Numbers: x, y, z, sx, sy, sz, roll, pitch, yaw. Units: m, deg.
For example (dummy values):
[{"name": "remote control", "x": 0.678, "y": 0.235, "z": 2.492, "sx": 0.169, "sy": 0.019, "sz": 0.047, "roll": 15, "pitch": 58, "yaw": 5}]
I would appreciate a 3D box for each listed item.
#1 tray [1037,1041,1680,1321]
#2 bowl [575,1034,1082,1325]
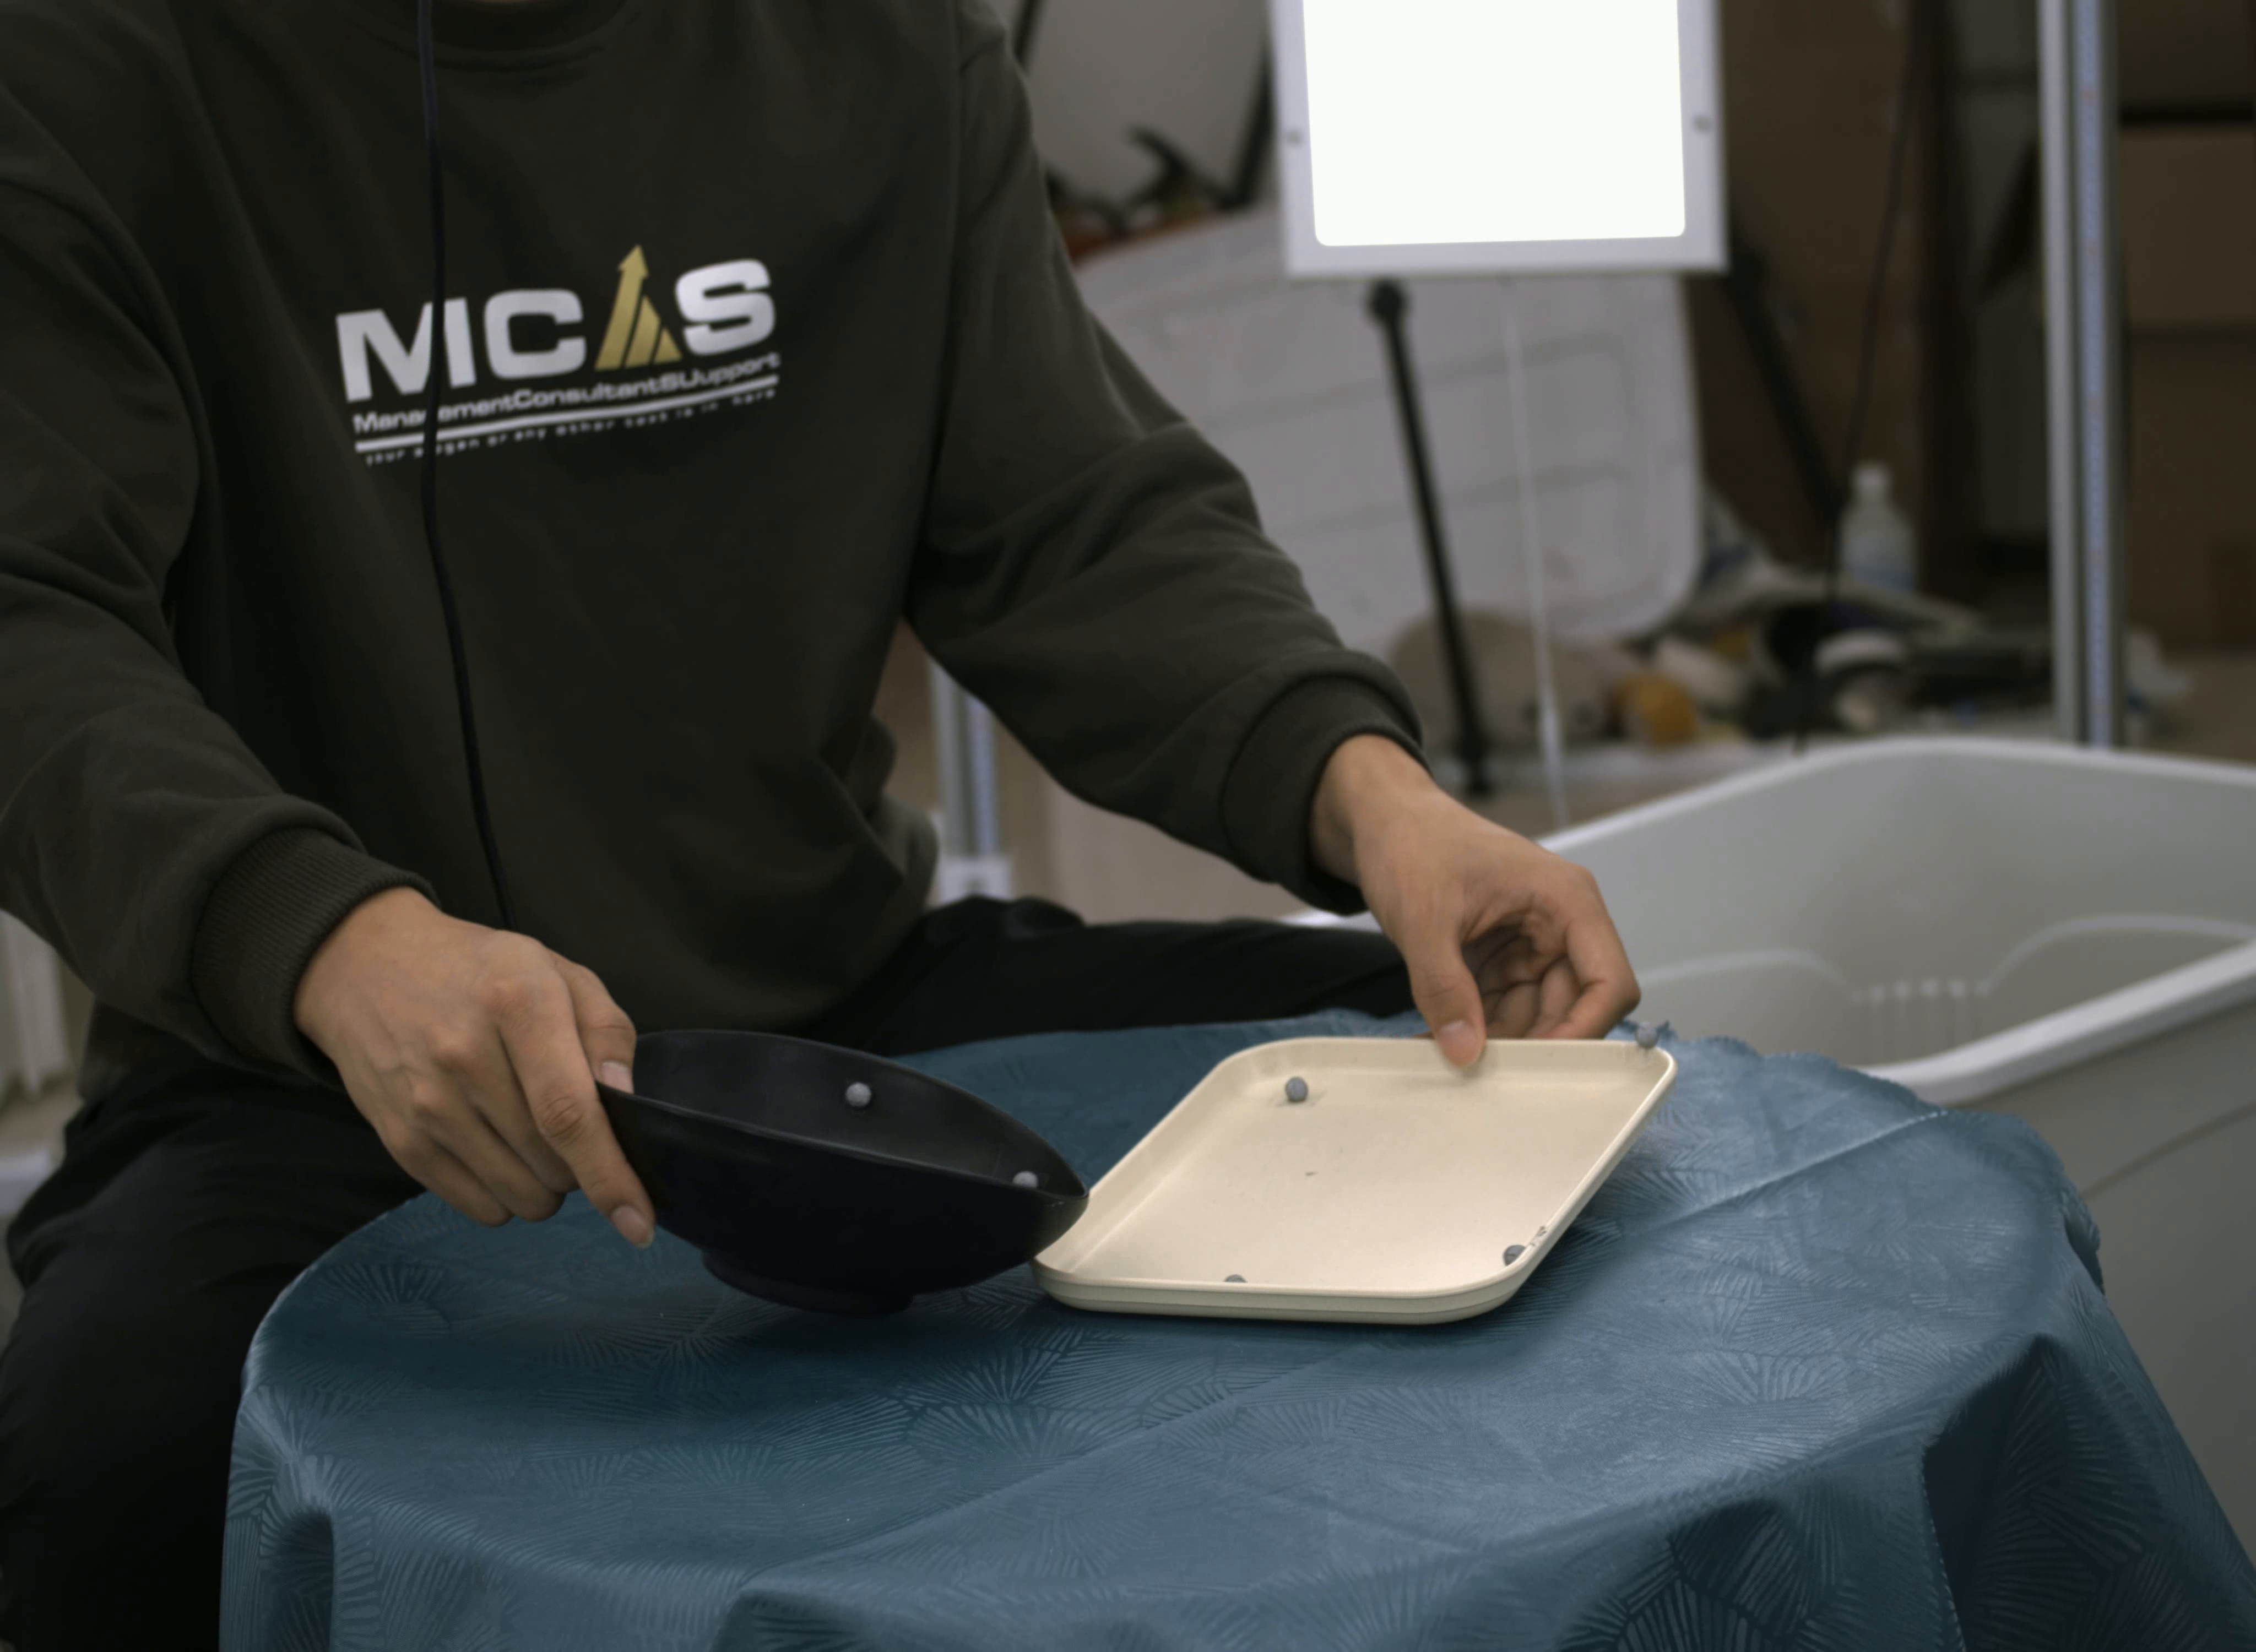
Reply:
[{"name": "tray", "x": 0.082, "y": 0.118, "z": 1.845, "sx": 0.174, "sy": 0.017, "sz": 0.235, "roll": -2, "pitch": 17, "yaw": 23}, {"name": "bowl", "x": -0.101, "y": 0.119, "z": 1.780, "sx": 0.169, "sy": 0.067, "sz": 0.137, "roll": 14, "pitch": 11, "yaw": -4}]
